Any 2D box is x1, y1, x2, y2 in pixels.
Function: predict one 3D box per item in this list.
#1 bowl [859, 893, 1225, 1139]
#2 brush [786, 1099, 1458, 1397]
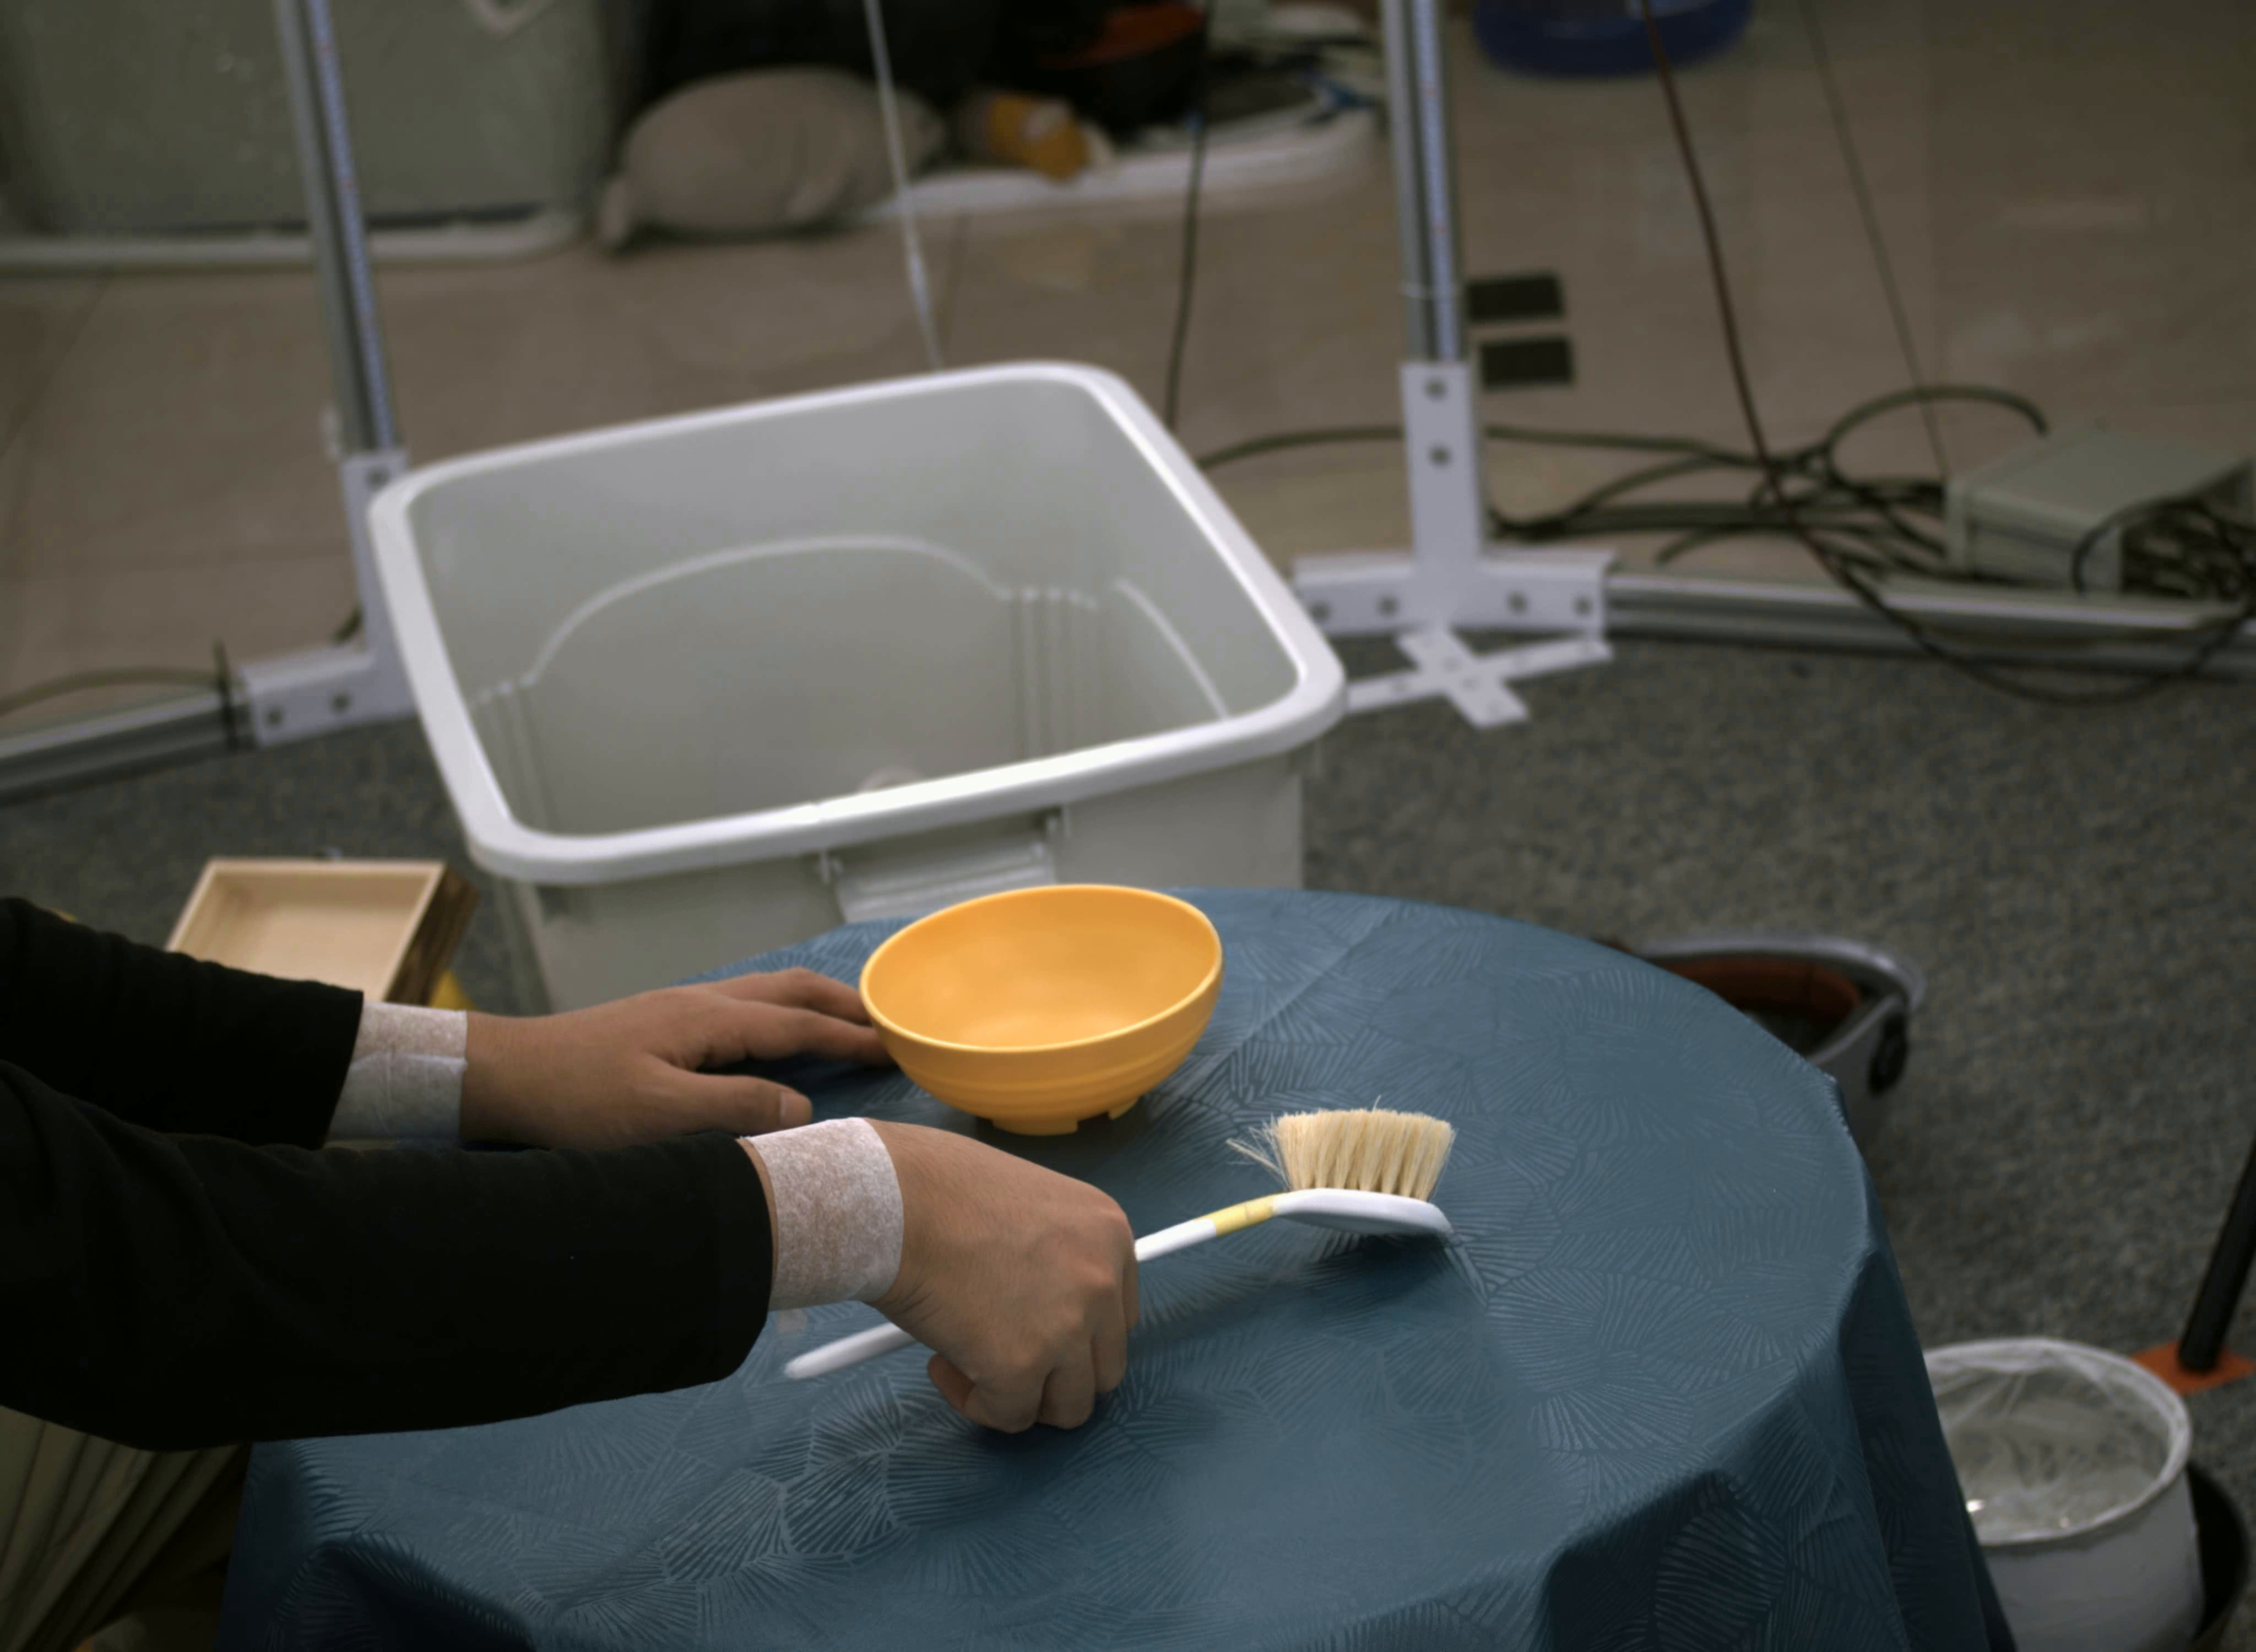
[{"bbox_3d":[-0.030,0.081,2.210,0.145,0.061,0.143,-6,24,3],"label":"bowl"},{"bbox_3d":[-0.004,0.146,2.034,0.265,0.056,0.069,-13,-7,-20],"label":"brush"}]
